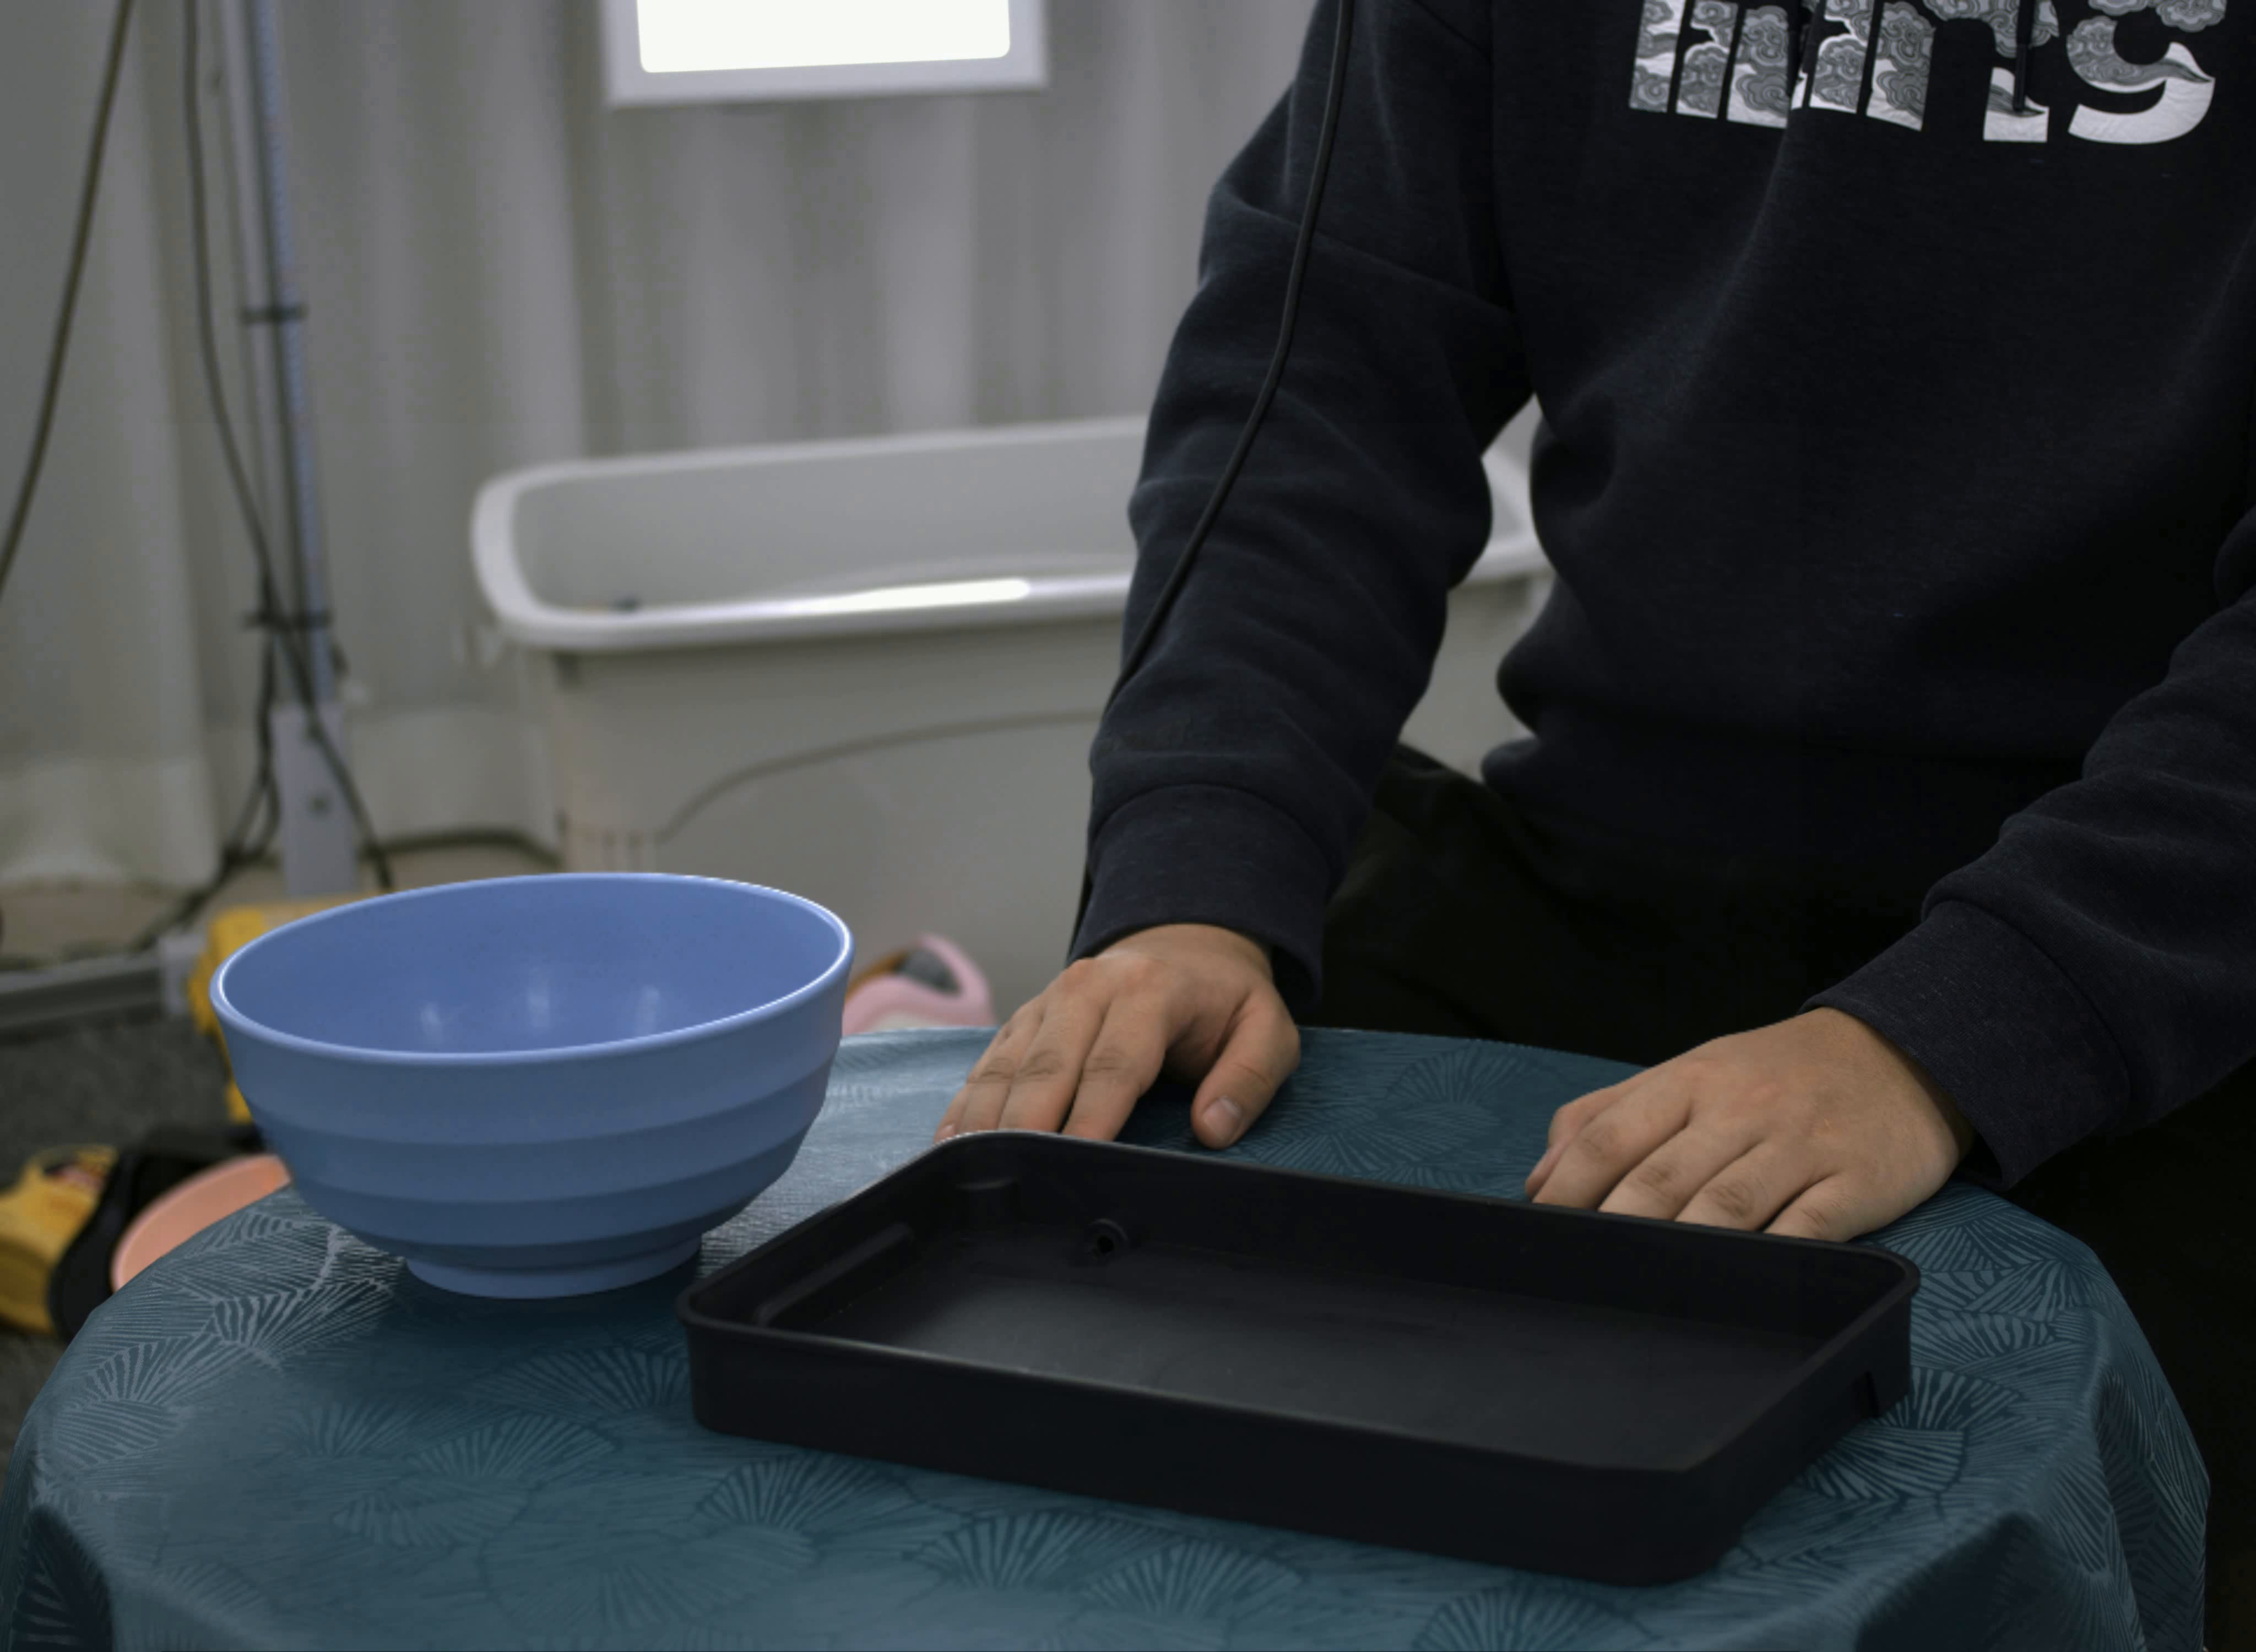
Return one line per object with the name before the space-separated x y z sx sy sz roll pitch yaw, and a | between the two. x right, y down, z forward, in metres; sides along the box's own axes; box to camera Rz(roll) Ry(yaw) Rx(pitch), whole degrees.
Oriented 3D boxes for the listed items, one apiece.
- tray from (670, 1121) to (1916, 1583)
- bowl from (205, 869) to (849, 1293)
tray | 0.046 0.143 1.532 0.319 0.037 0.184 6 17 29
bowl | -0.179 0.083 1.675 0.196 0.095 0.198 -5 14 1
